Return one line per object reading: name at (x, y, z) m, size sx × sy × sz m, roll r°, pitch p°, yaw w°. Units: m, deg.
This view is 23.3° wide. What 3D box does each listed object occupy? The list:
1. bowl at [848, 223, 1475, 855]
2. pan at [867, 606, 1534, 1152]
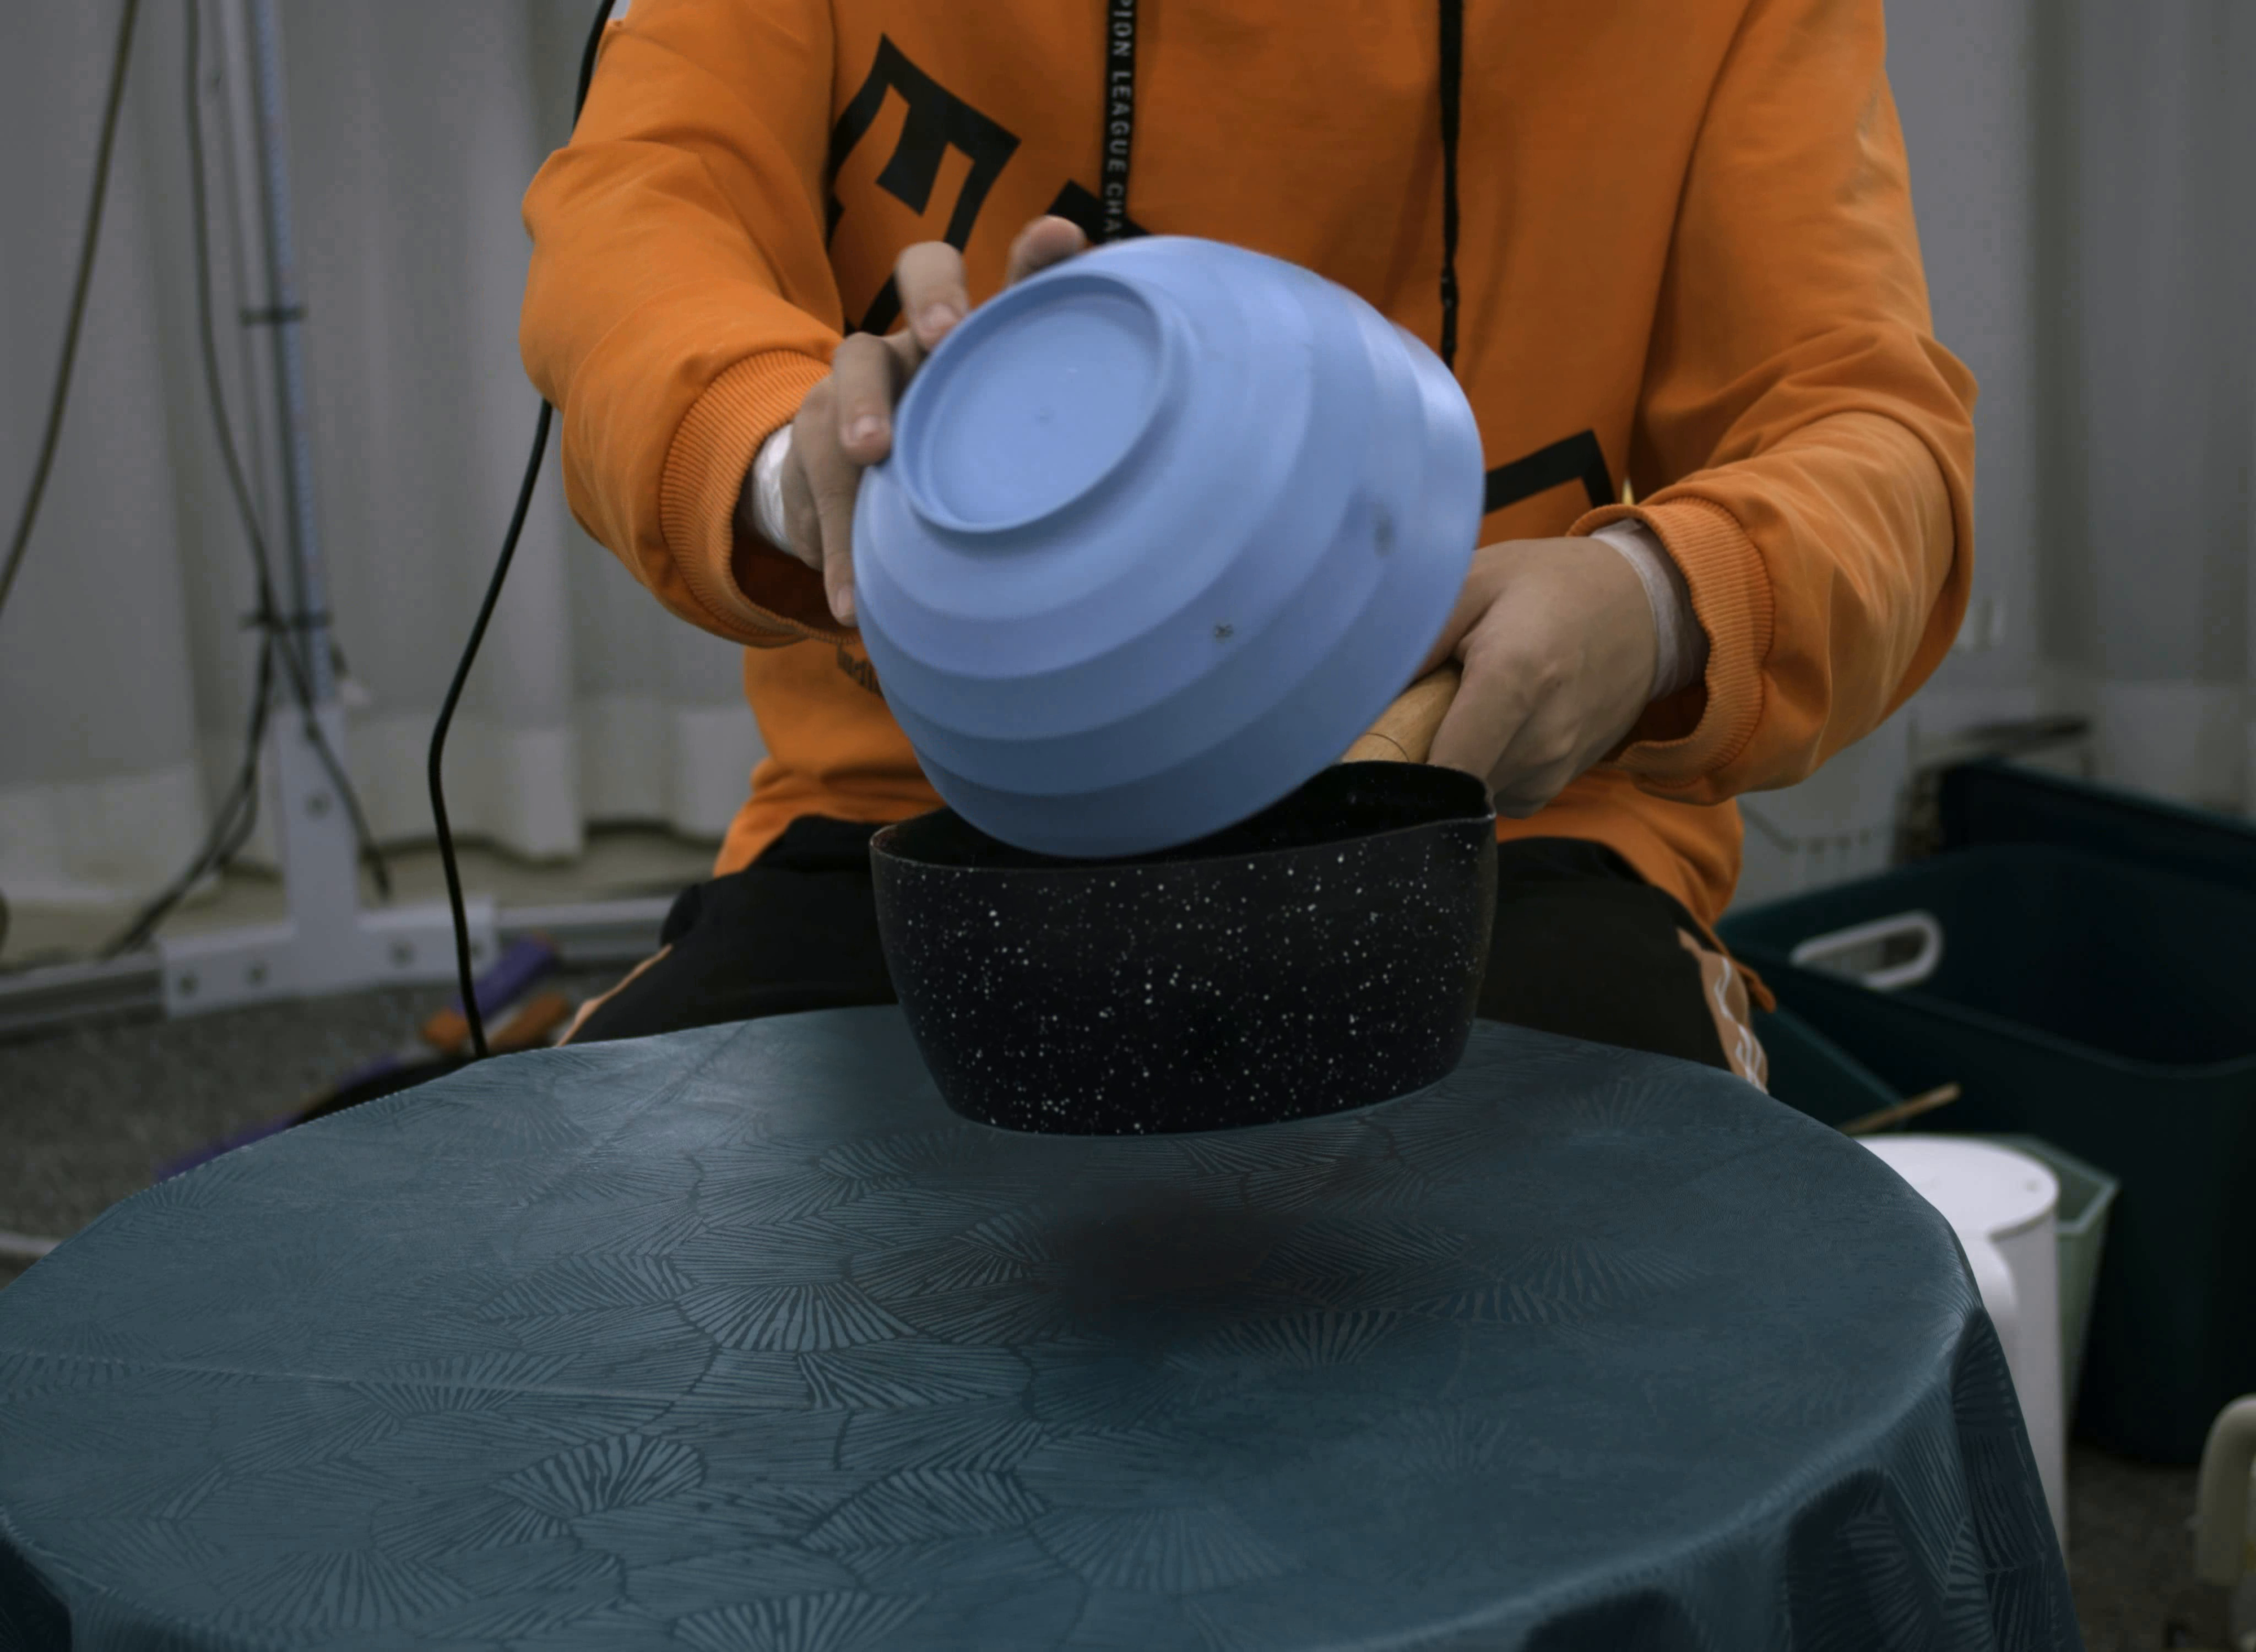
bowl at (-0.007, -0.100, 1.586) m, size 0.197 × 0.198 × 0.094 m, roll 10°, pitch -22°, yaw 41°
pan at (0.052, 0.012, 1.683) m, size 0.207 × 0.108 × 0.343 m, roll -2°, pitch 10°, yaw 26°
